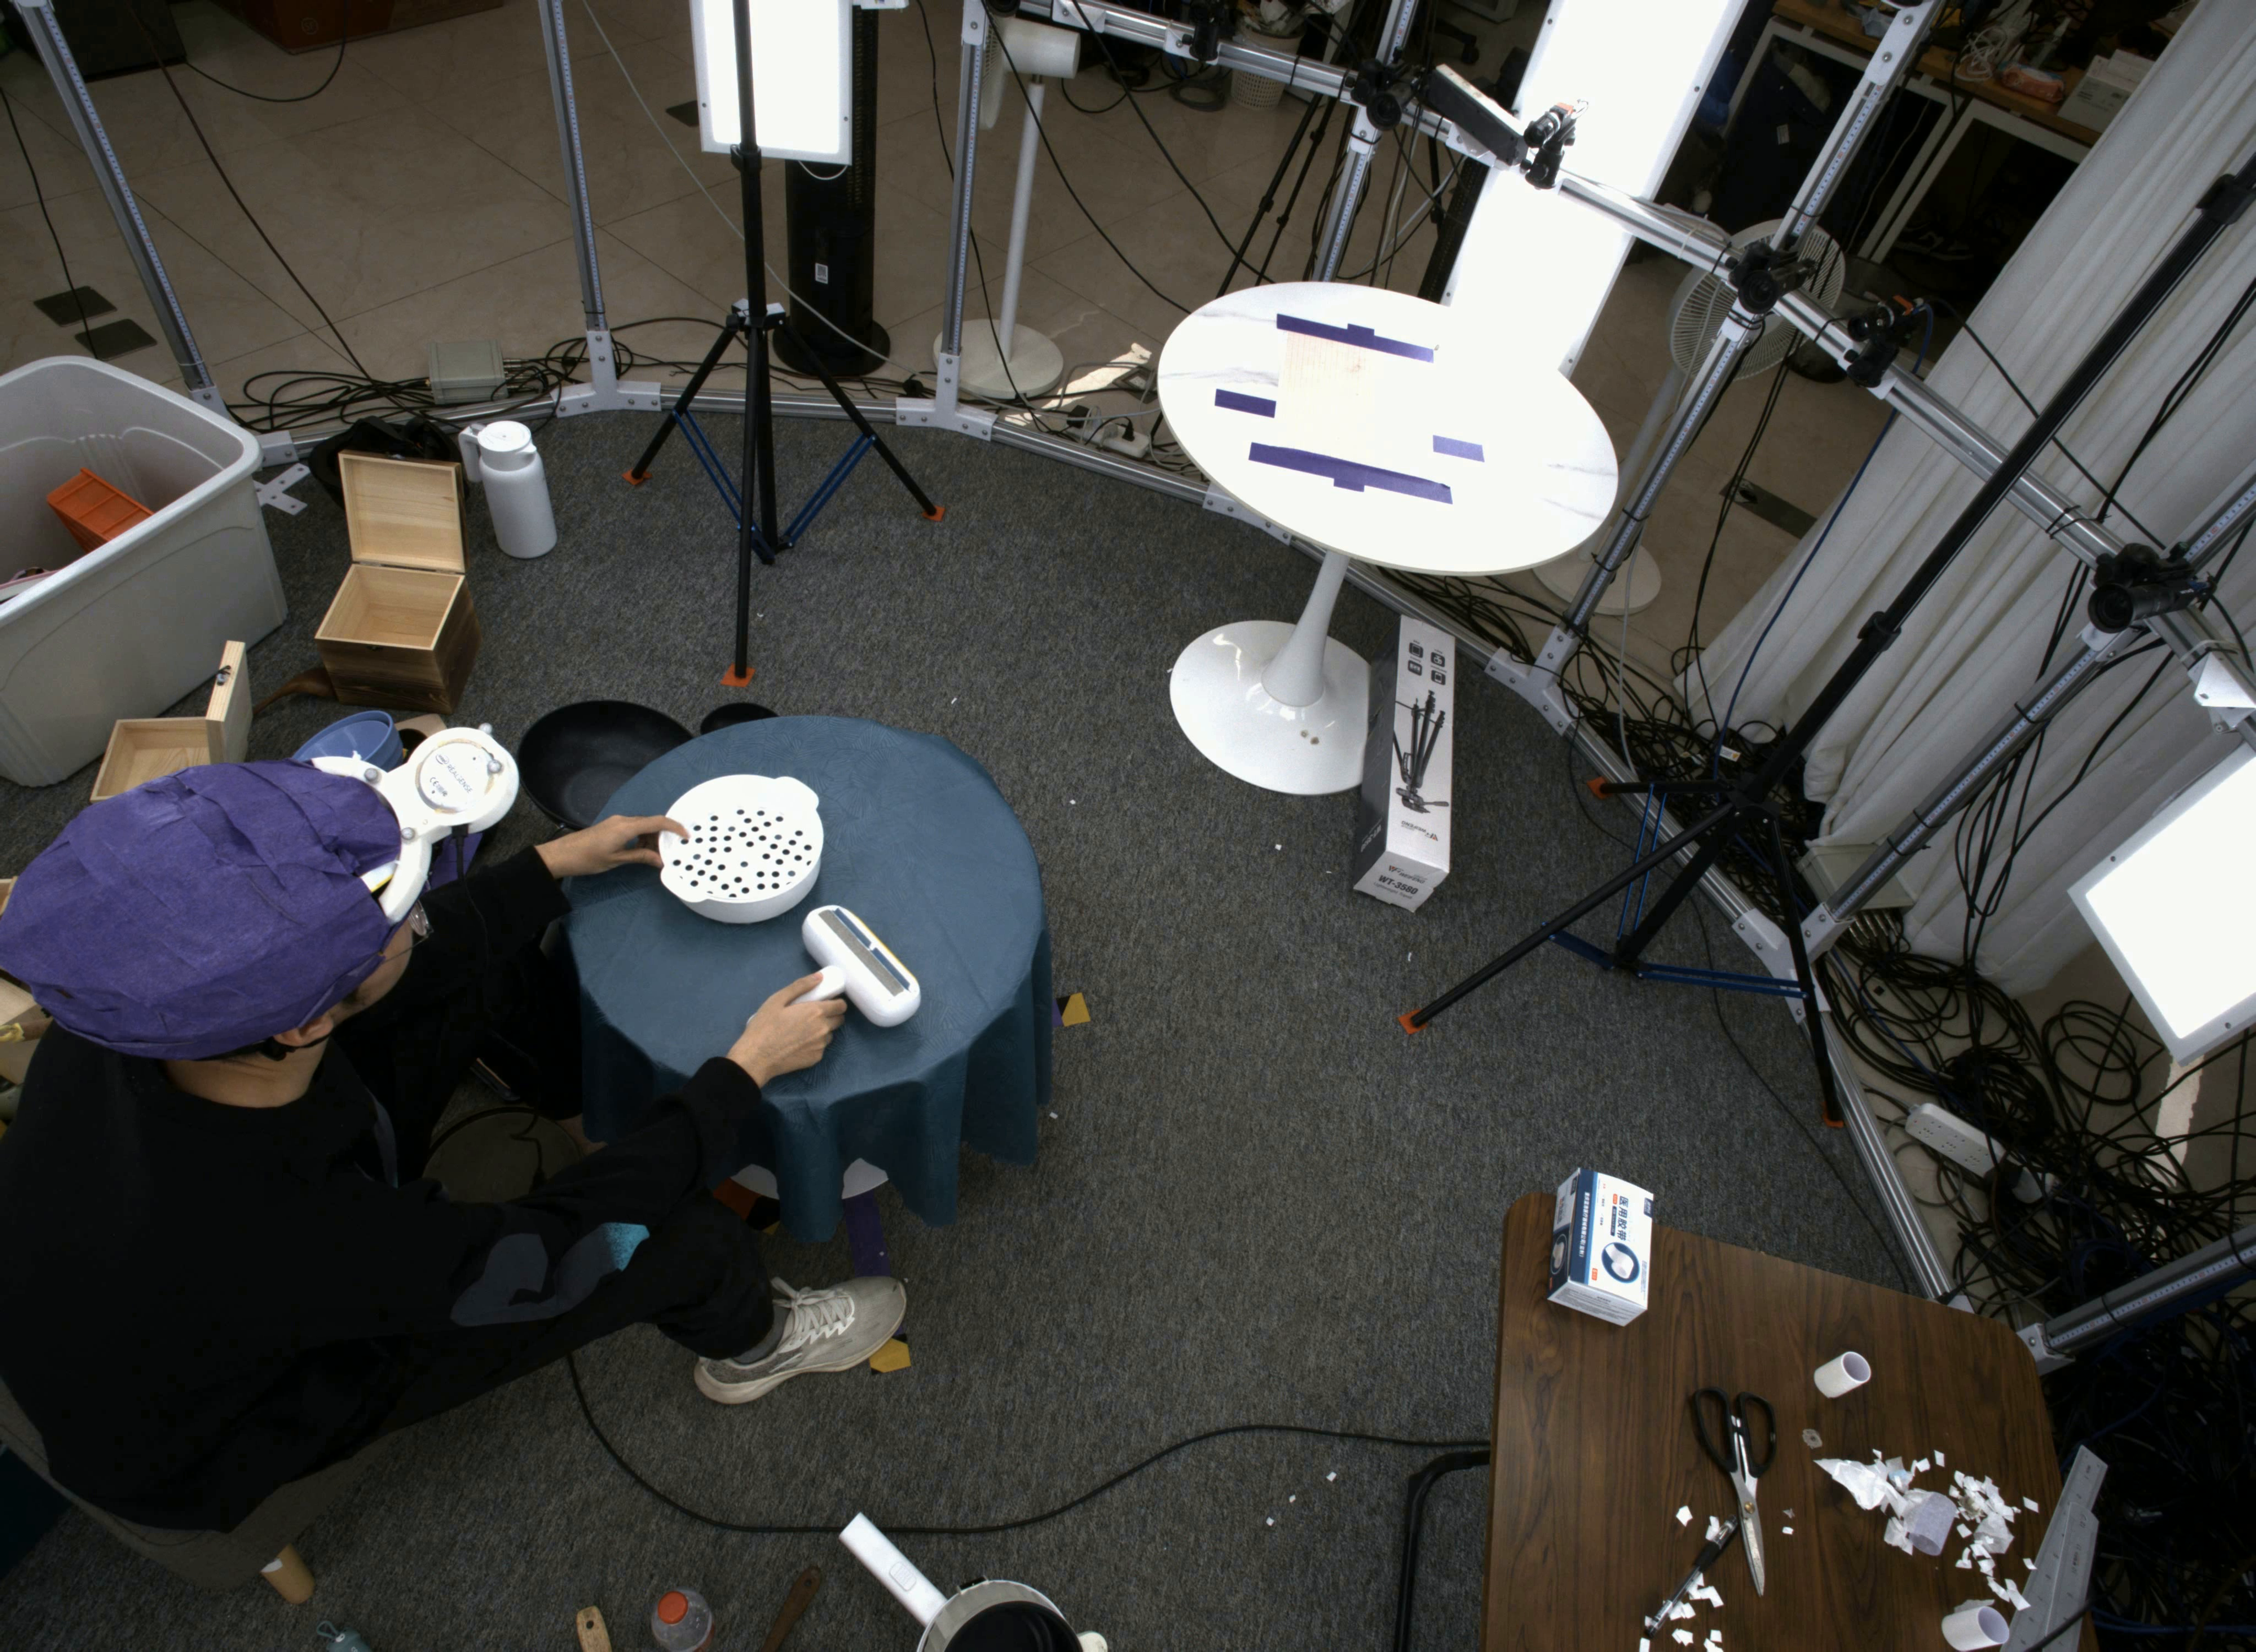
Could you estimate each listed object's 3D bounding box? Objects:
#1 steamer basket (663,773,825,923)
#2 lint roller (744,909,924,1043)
[{"bbox_3d":[-0.487,0.028,1.652,0.198,0.071,0.230,34,55,13],"label":"steamer basket"},{"bbox_3d":[-0.367,0.194,1.548,0.194,0.076,0.187,-22,56,-36],"label":"lint roller"}]
